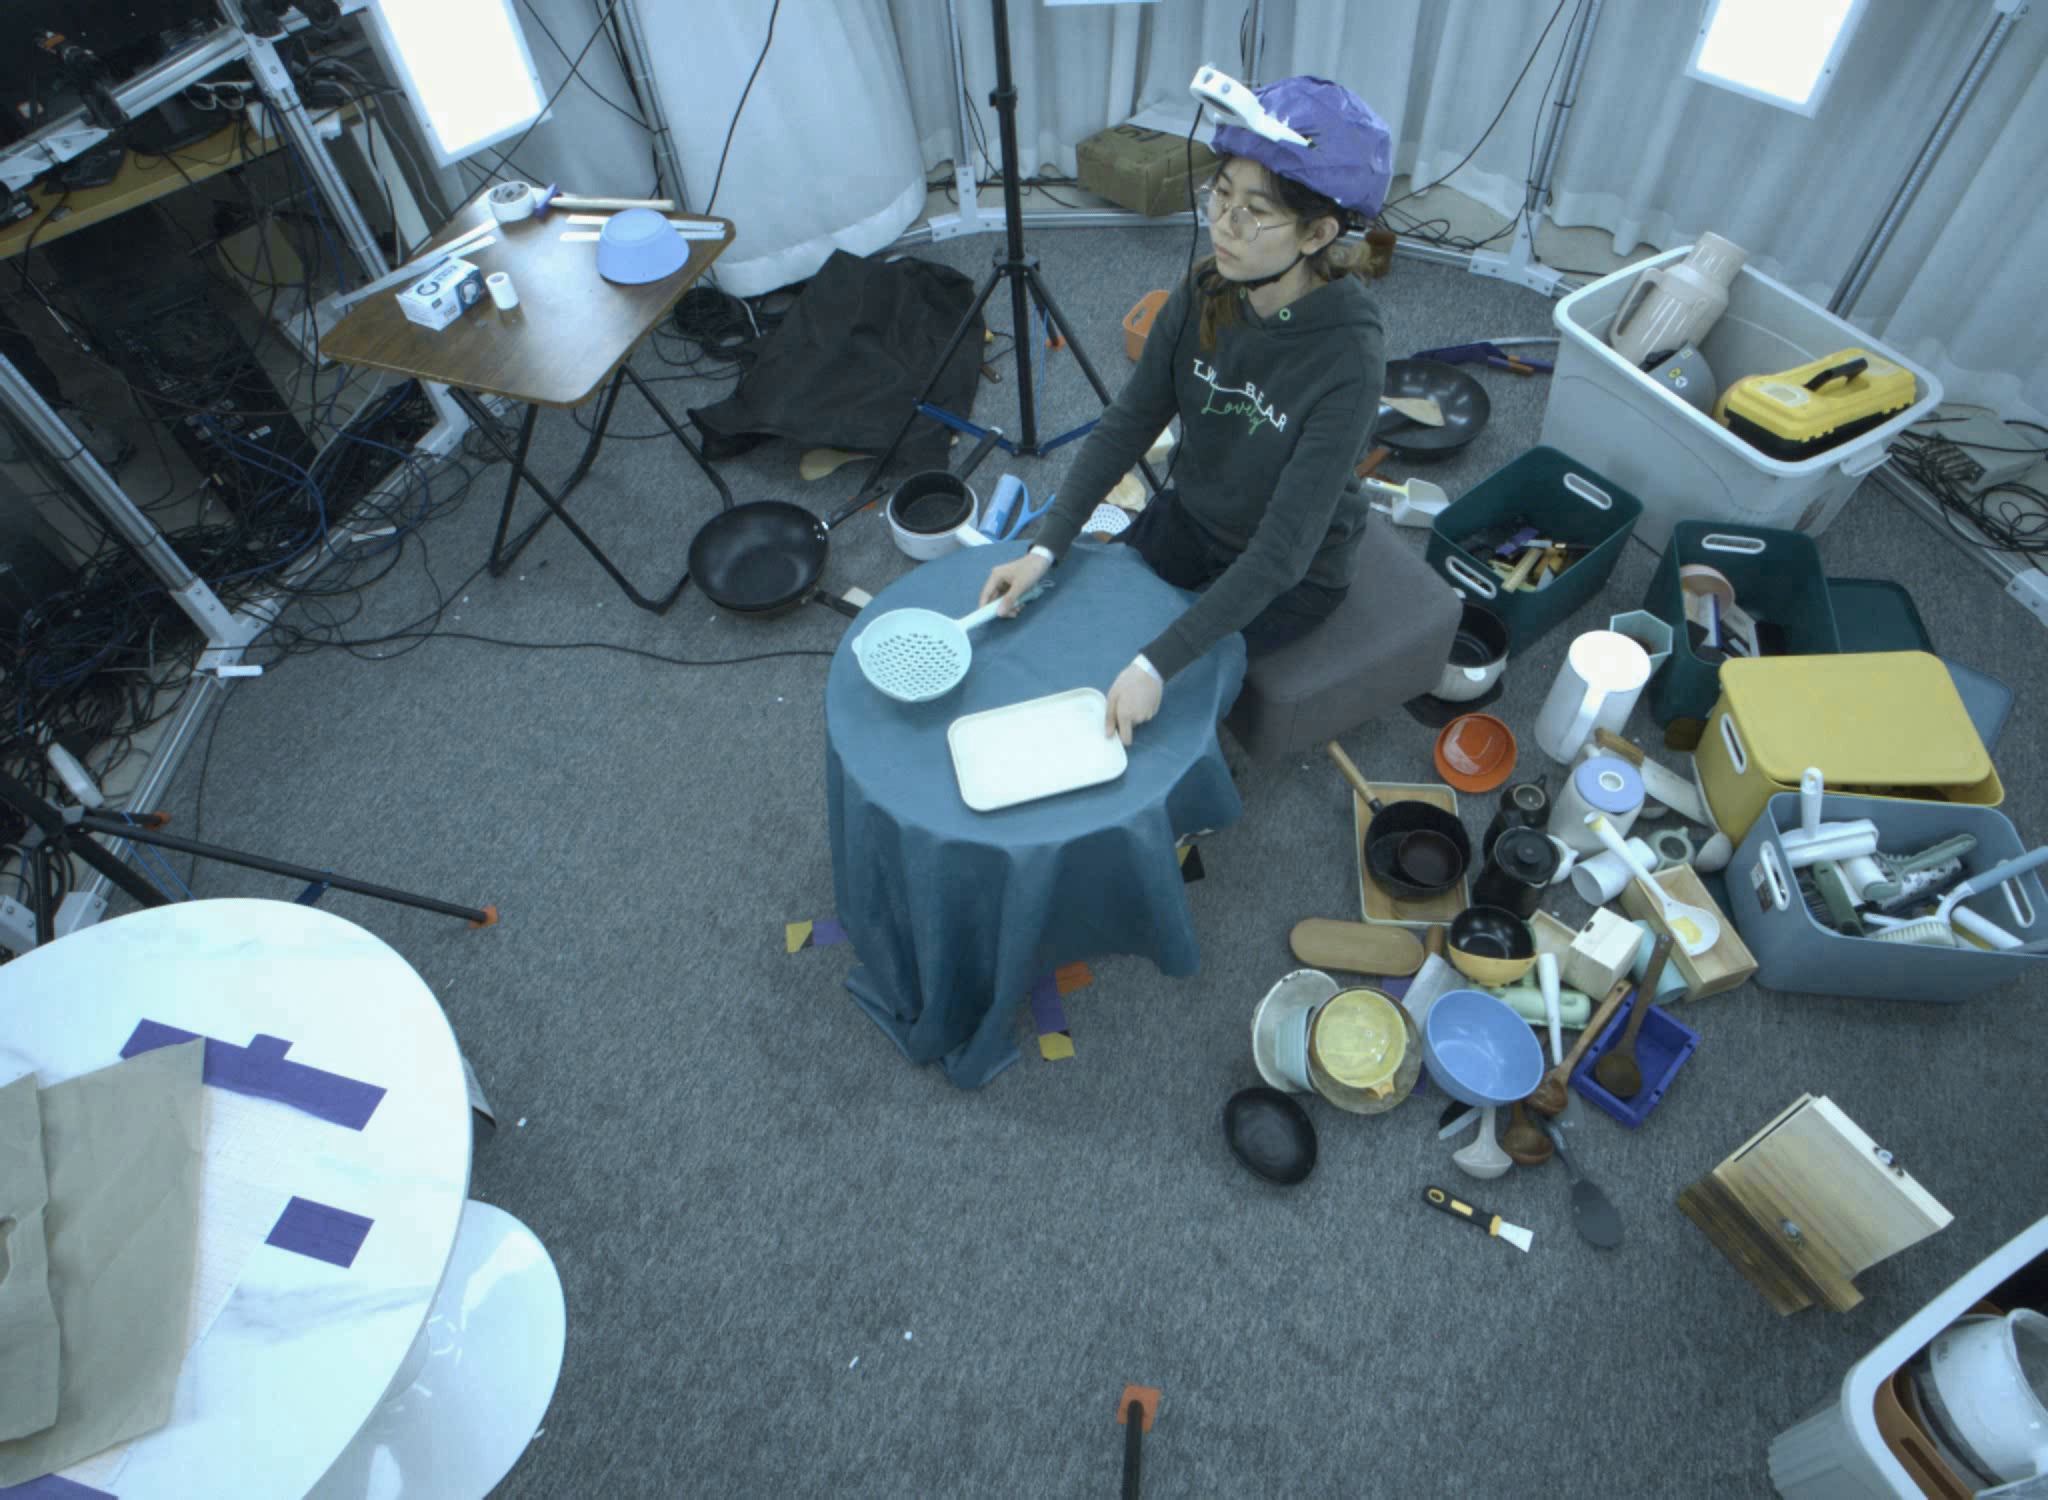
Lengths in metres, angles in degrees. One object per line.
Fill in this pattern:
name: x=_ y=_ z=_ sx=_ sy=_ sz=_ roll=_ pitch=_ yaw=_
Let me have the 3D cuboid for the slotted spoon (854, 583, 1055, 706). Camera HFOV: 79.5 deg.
slotted spoon: x=-0.089 y=-0.182 z=1.887 sx=0.361 sy=0.076 sz=0.167 roll=-36 pitch=70 yaw=-21

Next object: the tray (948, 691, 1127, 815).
tray: x=0.019 y=0.004 z=1.780 sx=0.241 sy=0.018 sz=0.168 roll=-14 pitch=56 yaw=-6
